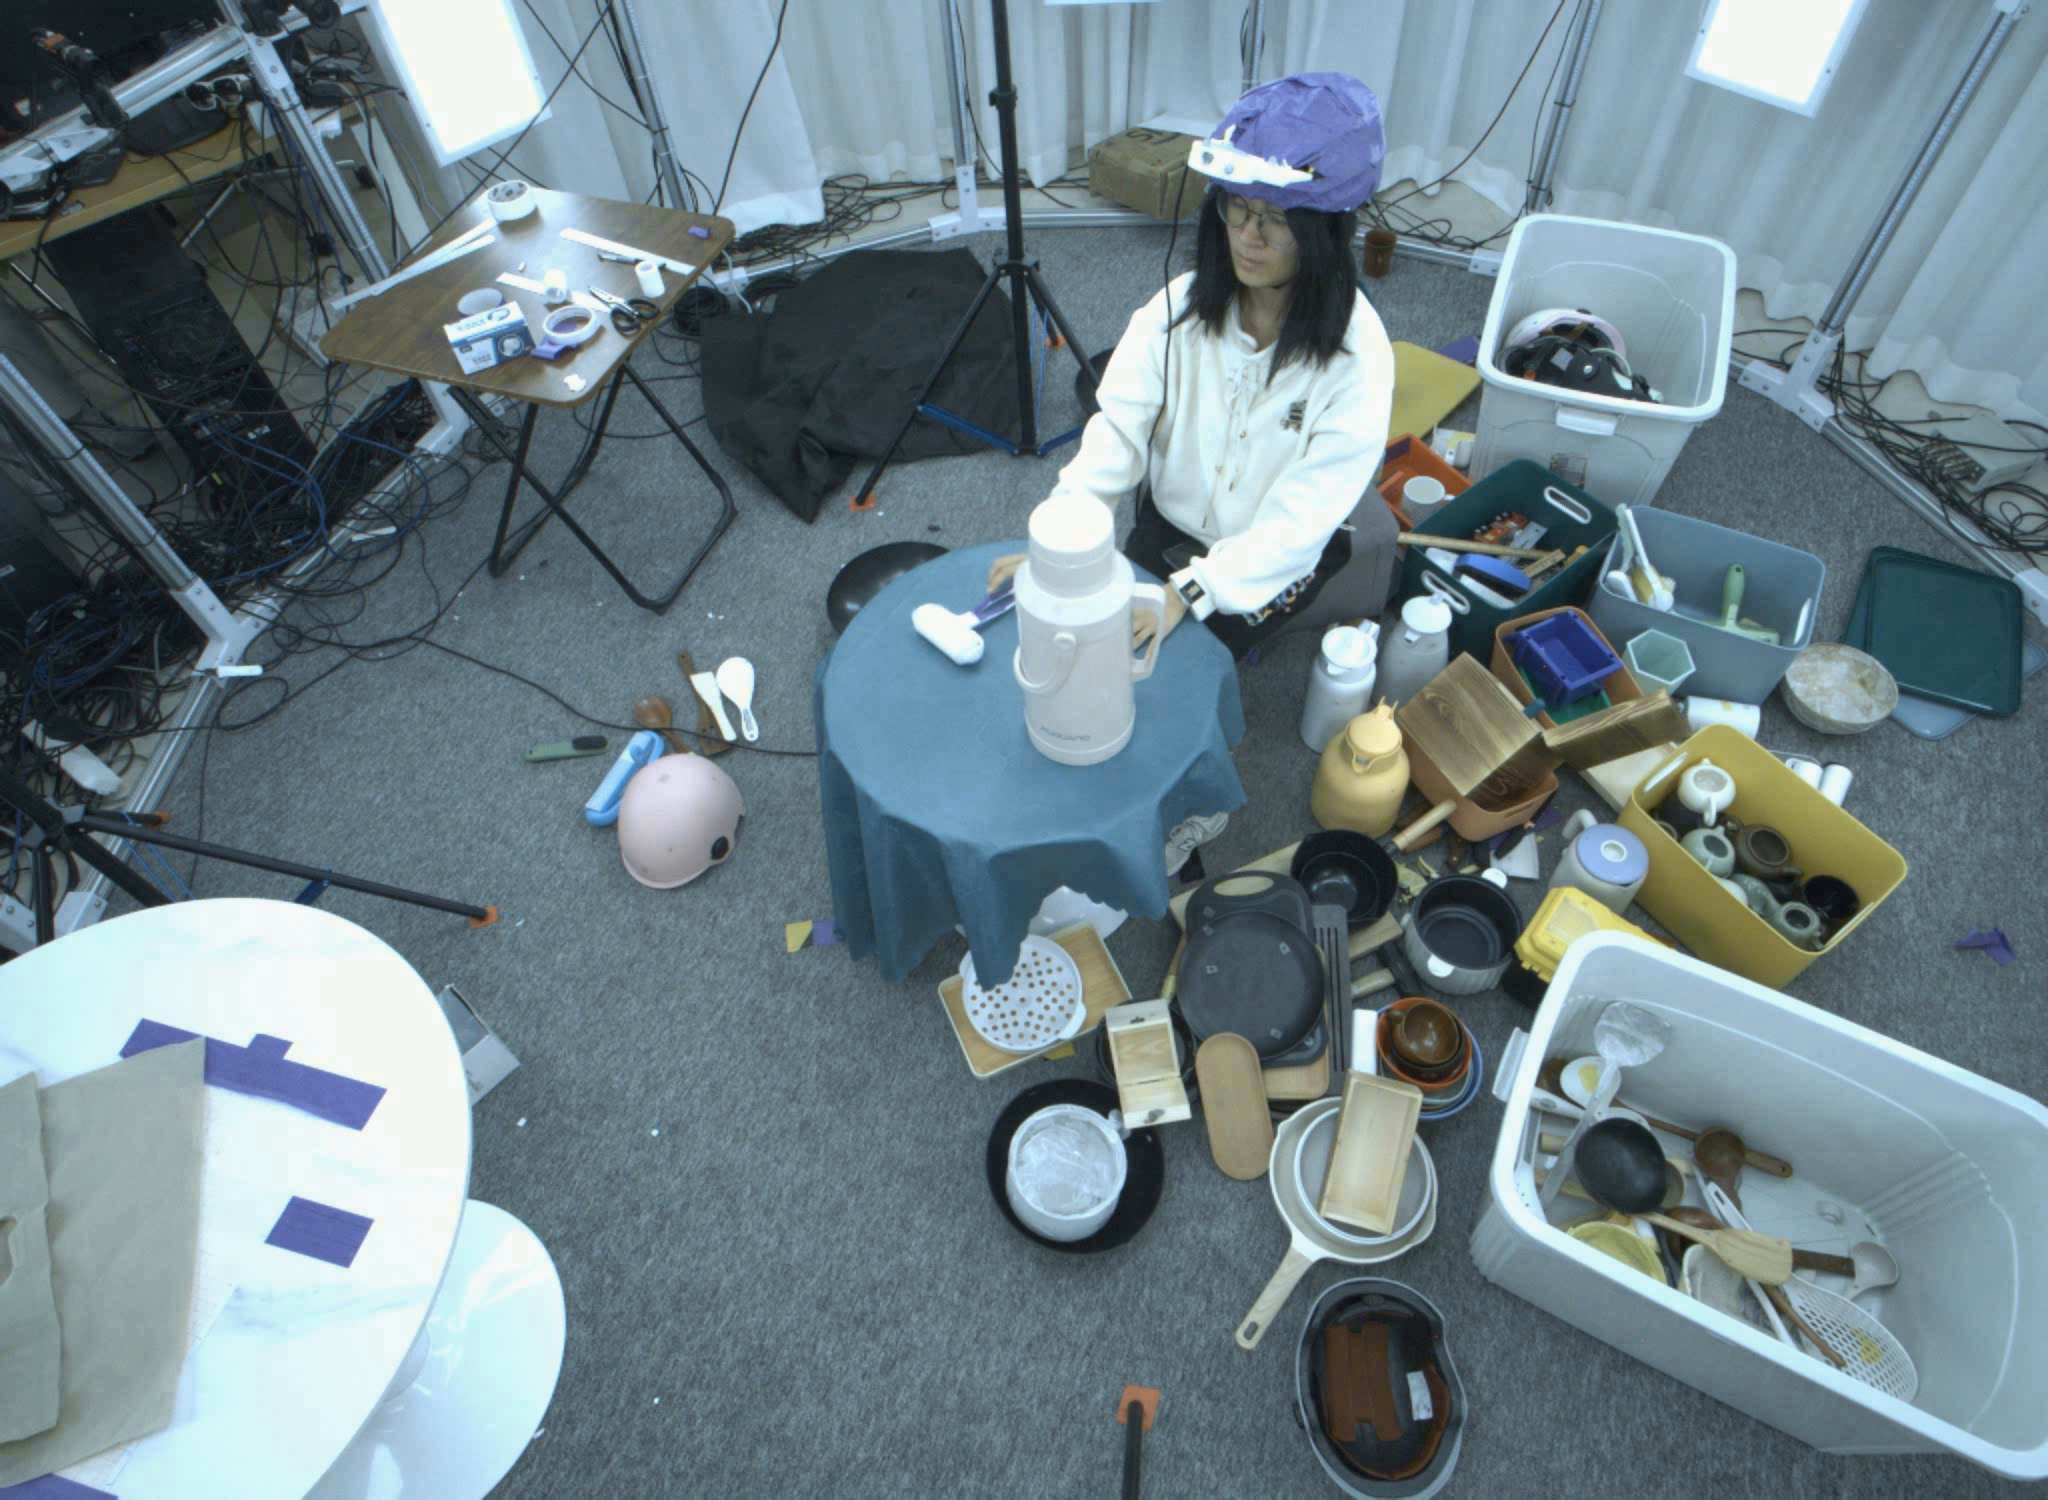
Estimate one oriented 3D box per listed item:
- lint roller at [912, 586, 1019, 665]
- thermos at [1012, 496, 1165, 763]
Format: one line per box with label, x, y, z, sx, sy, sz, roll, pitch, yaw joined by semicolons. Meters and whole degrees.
lint roller;-0.072;-0.214;1.912;0.182;0.051;0.130;-38;61;-20
thermos;0.082;-0.155;1.651;0.206;0.411;0.174;5;55;7
